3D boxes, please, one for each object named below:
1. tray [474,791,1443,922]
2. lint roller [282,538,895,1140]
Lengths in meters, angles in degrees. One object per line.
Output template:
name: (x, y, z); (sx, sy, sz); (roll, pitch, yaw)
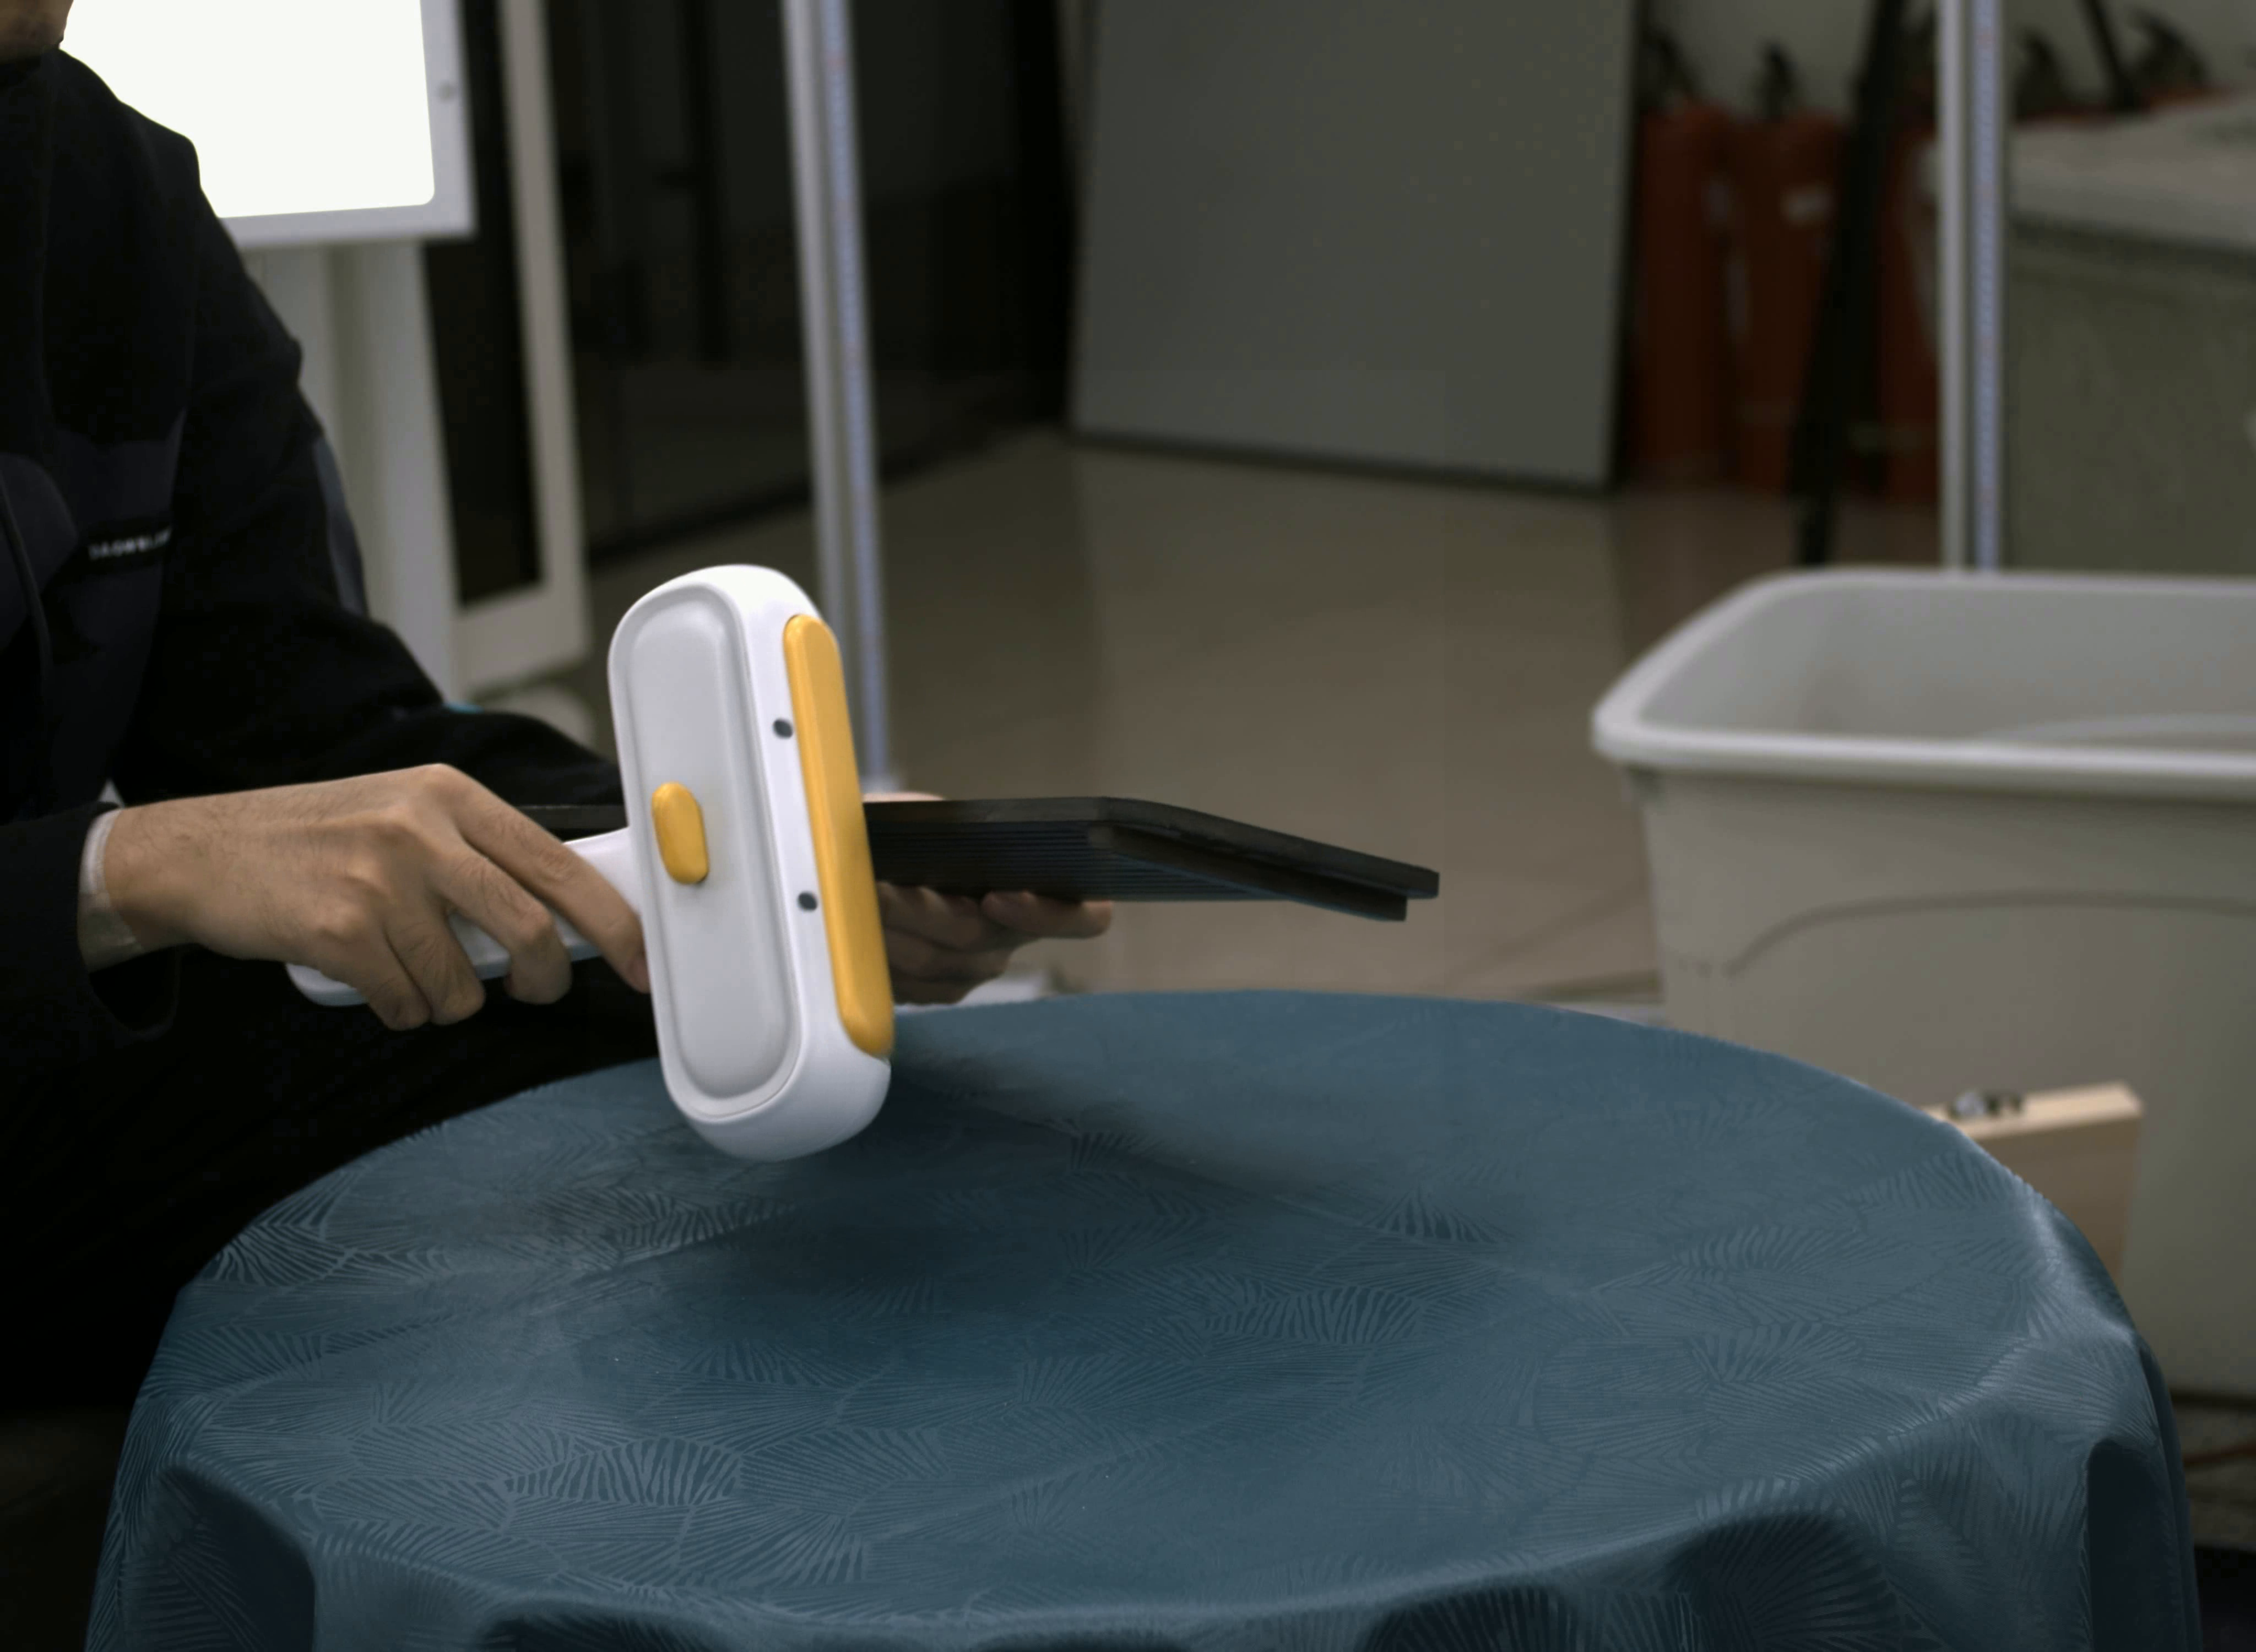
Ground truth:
tray: (-0.060, 0.014, 1.795); (0.308, 0.019, 0.166); (-2, -11, 41)
lint roller: (-0.176, 0.022, 1.712); (0.192, 0.195, 0.073); (-22, -17, 20)
